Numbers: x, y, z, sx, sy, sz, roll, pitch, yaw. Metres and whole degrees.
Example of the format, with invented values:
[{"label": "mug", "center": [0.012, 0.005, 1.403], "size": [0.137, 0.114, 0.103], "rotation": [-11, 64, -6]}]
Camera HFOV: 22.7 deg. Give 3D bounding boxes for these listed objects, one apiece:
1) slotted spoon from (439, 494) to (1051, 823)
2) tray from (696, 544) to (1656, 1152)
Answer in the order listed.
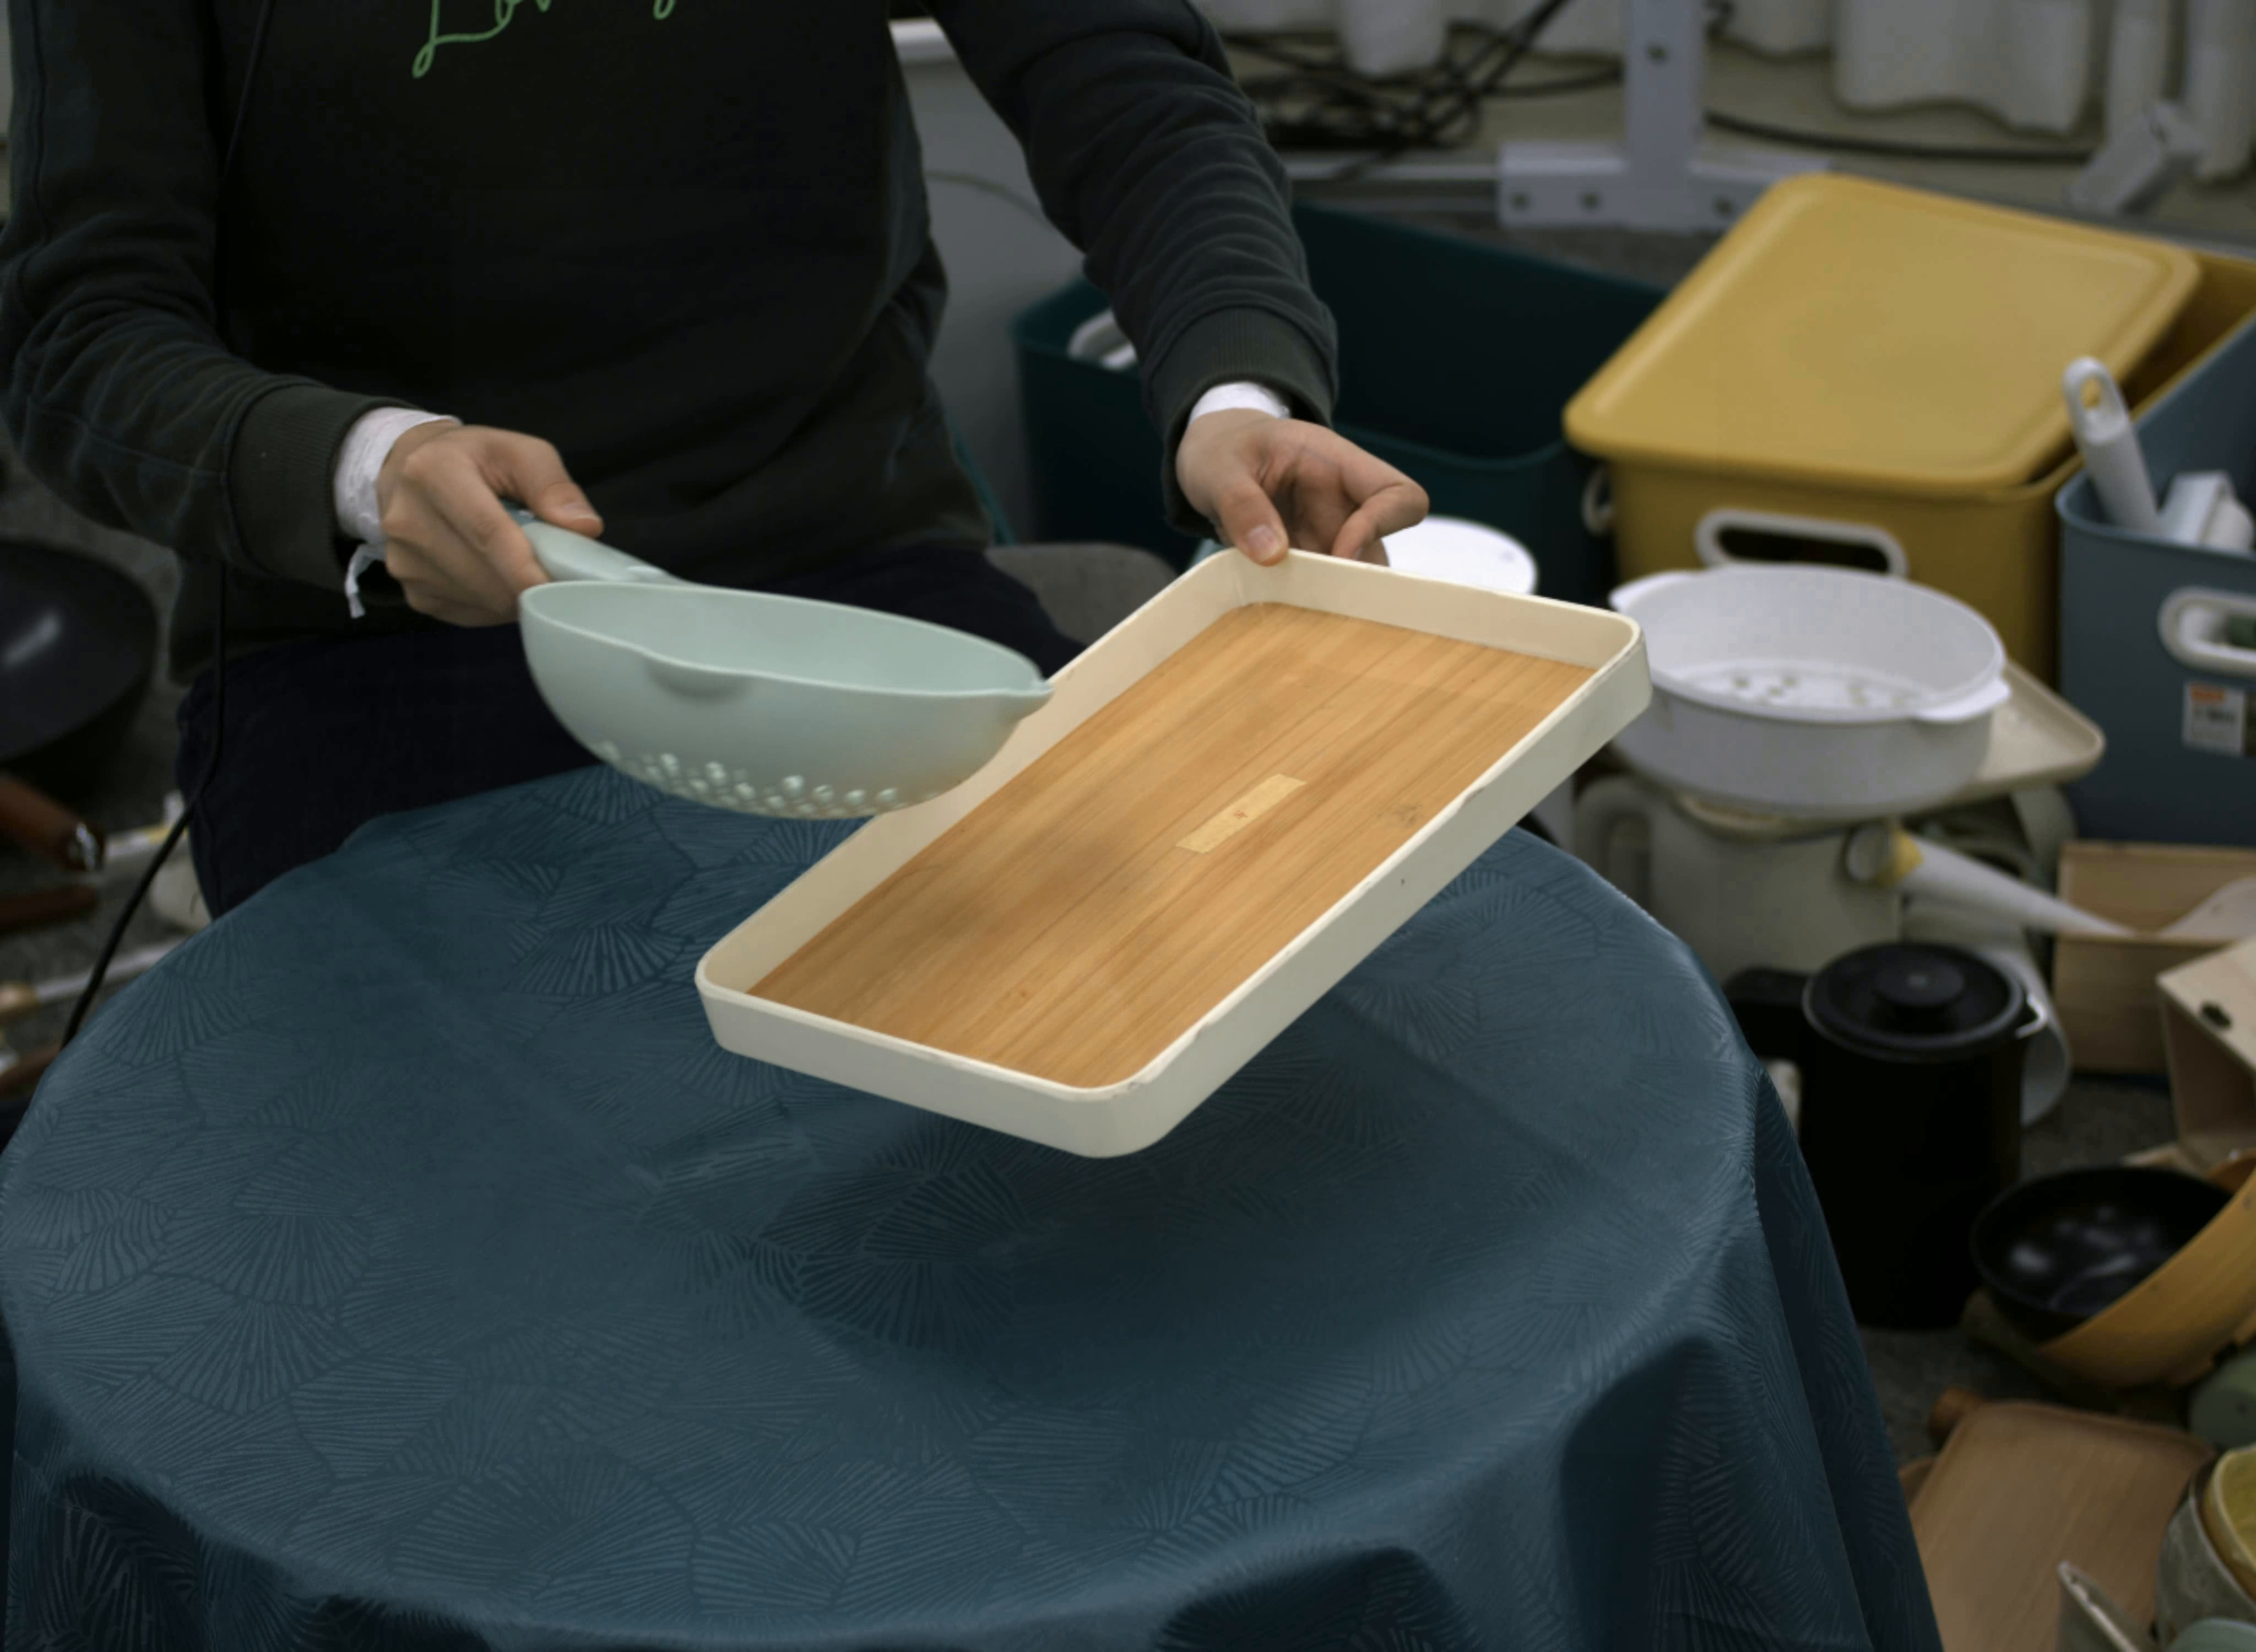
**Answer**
[{"label": "slotted spoon", "center": [-0.161, -0.071, 1.895], "size": [0.169, 0.075, 0.360], "rotation": [6, 18, -30]}, {"label": "tray", "center": [0.019, 0.001, 1.848], "size": [0.190, 0.027, 0.305], "rotation": [13, 39, 39]}]
